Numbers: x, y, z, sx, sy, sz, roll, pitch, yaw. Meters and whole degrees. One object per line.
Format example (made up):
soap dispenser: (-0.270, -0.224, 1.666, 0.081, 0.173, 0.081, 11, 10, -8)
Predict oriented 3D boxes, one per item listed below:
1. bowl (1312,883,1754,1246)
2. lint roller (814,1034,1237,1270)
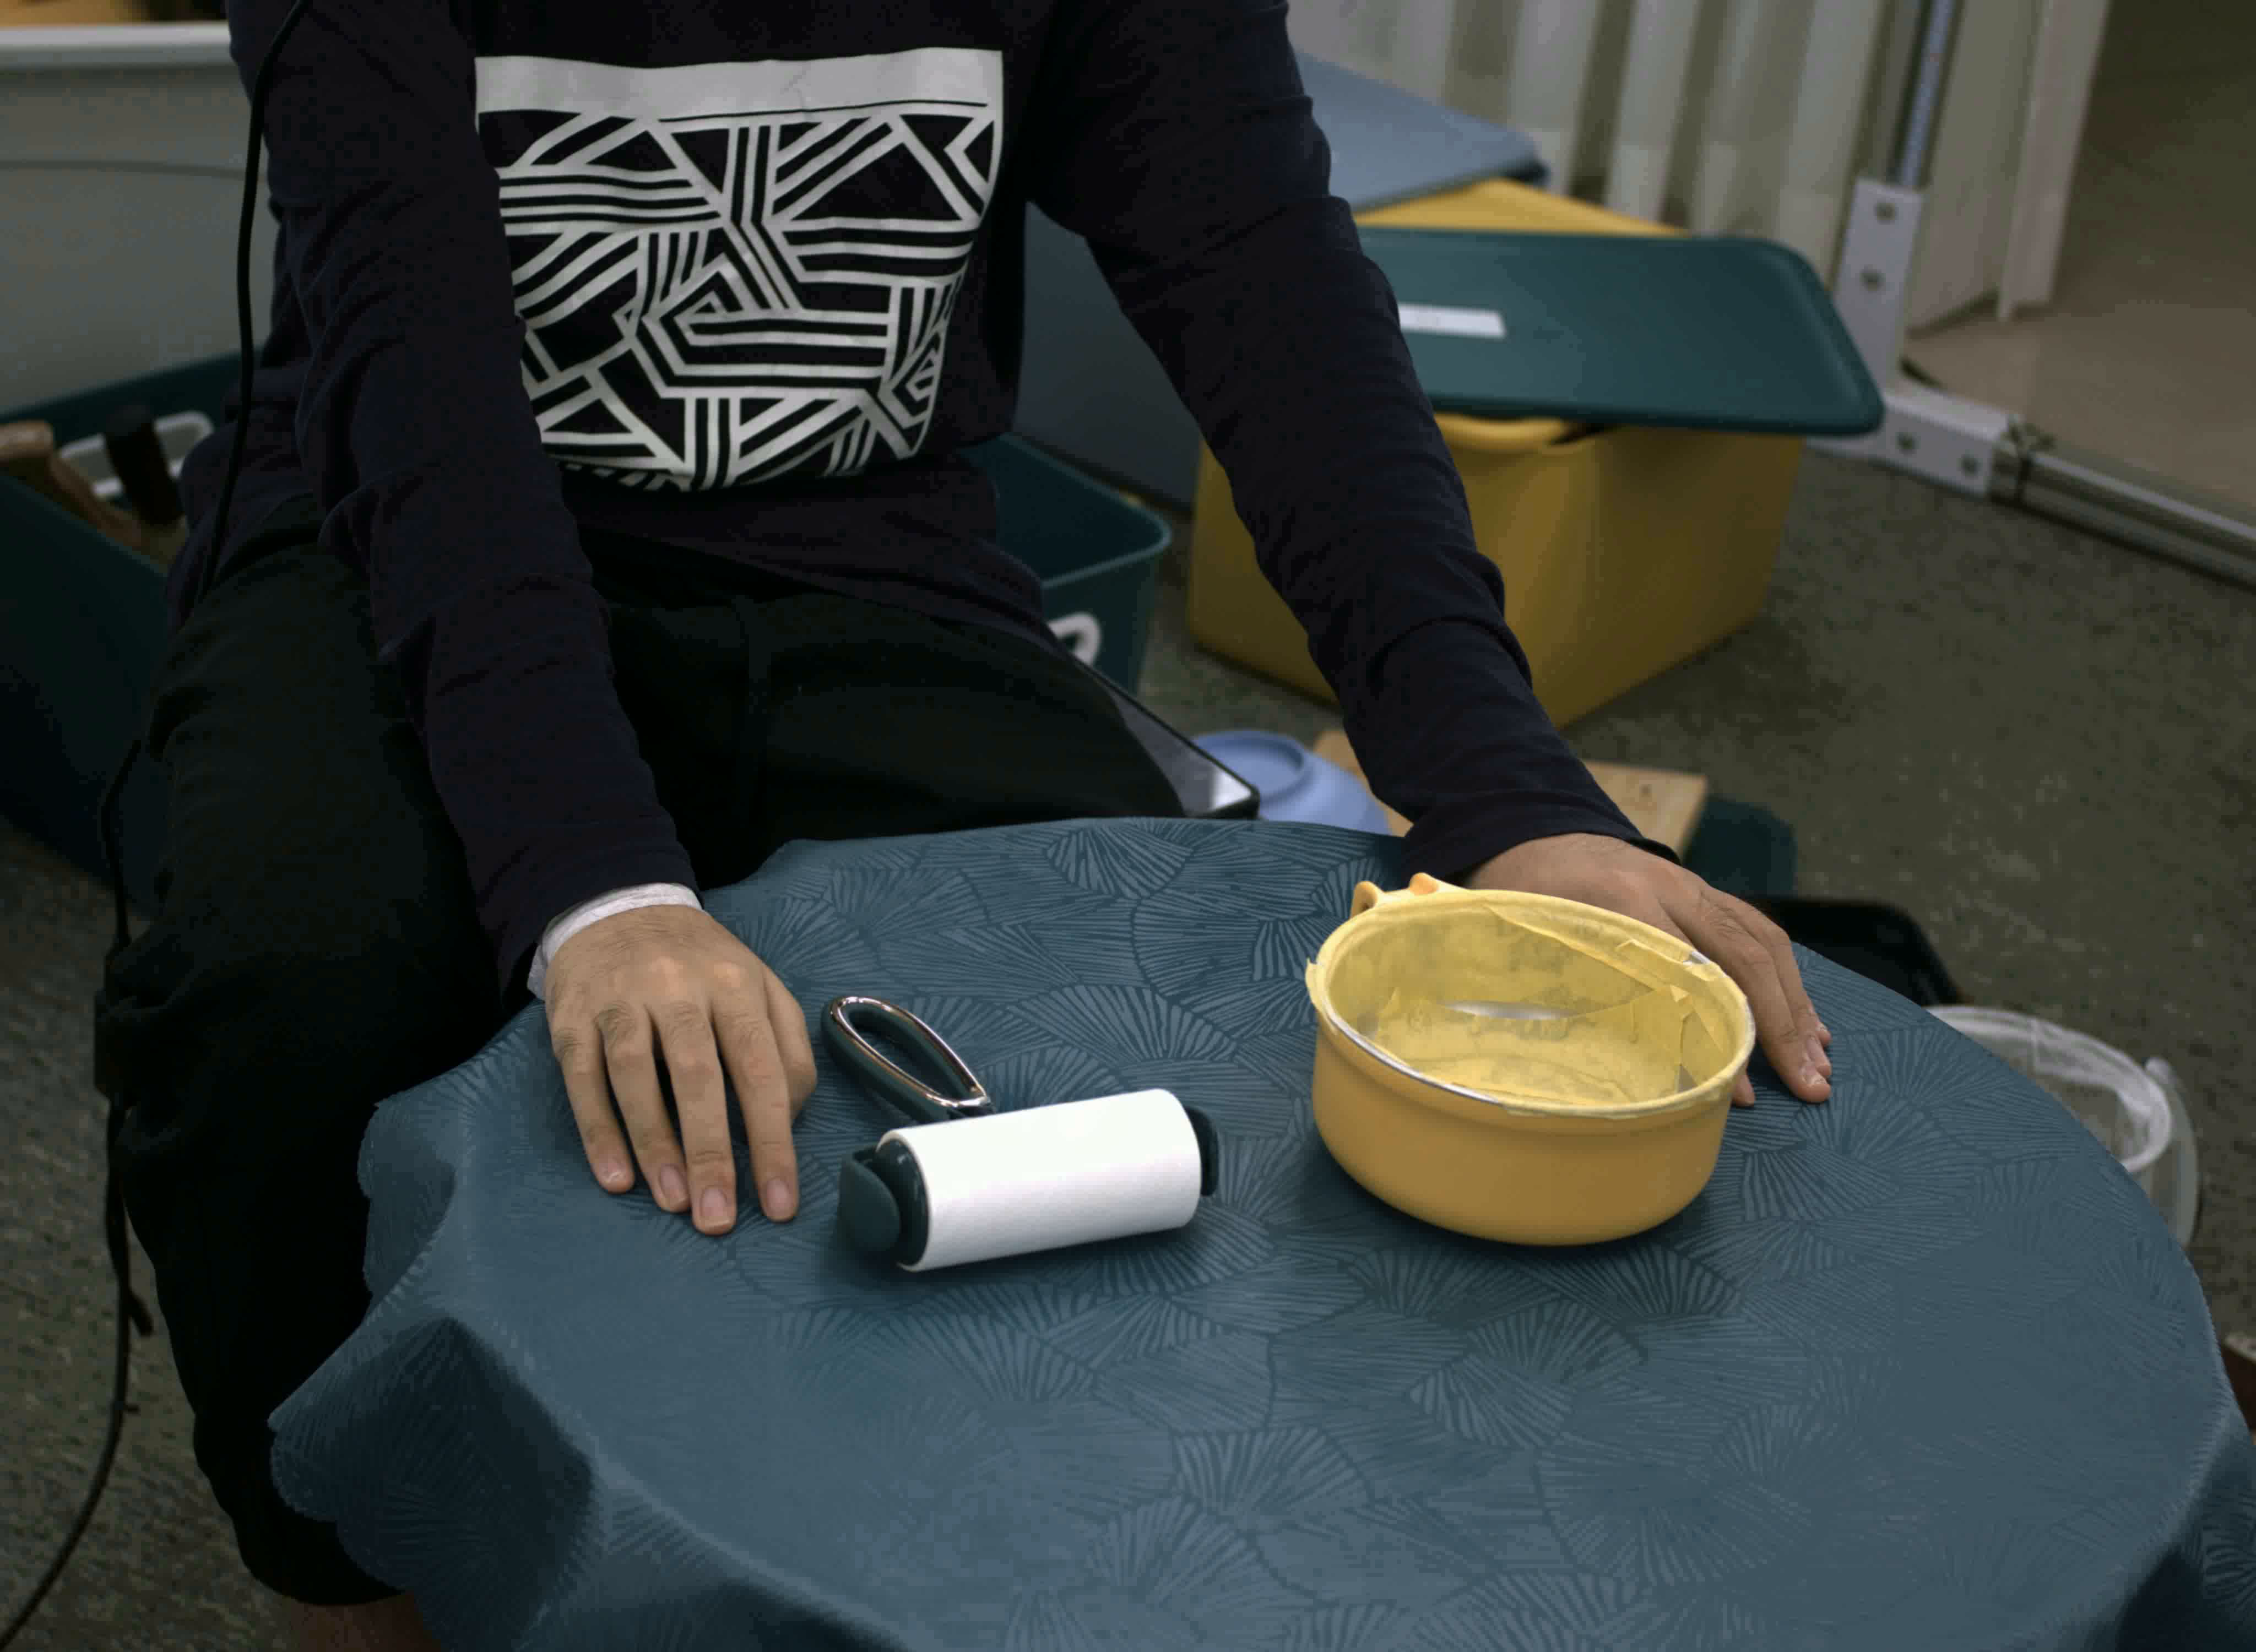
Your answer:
bowl: (0.130, 0.082, 1.846, 0.152, 0.074, 0.181, -12, 32, -30)
lint roller: (-0.061, 0.091, 1.814, 0.133, 0.048, 0.181, -8, 26, -26)
